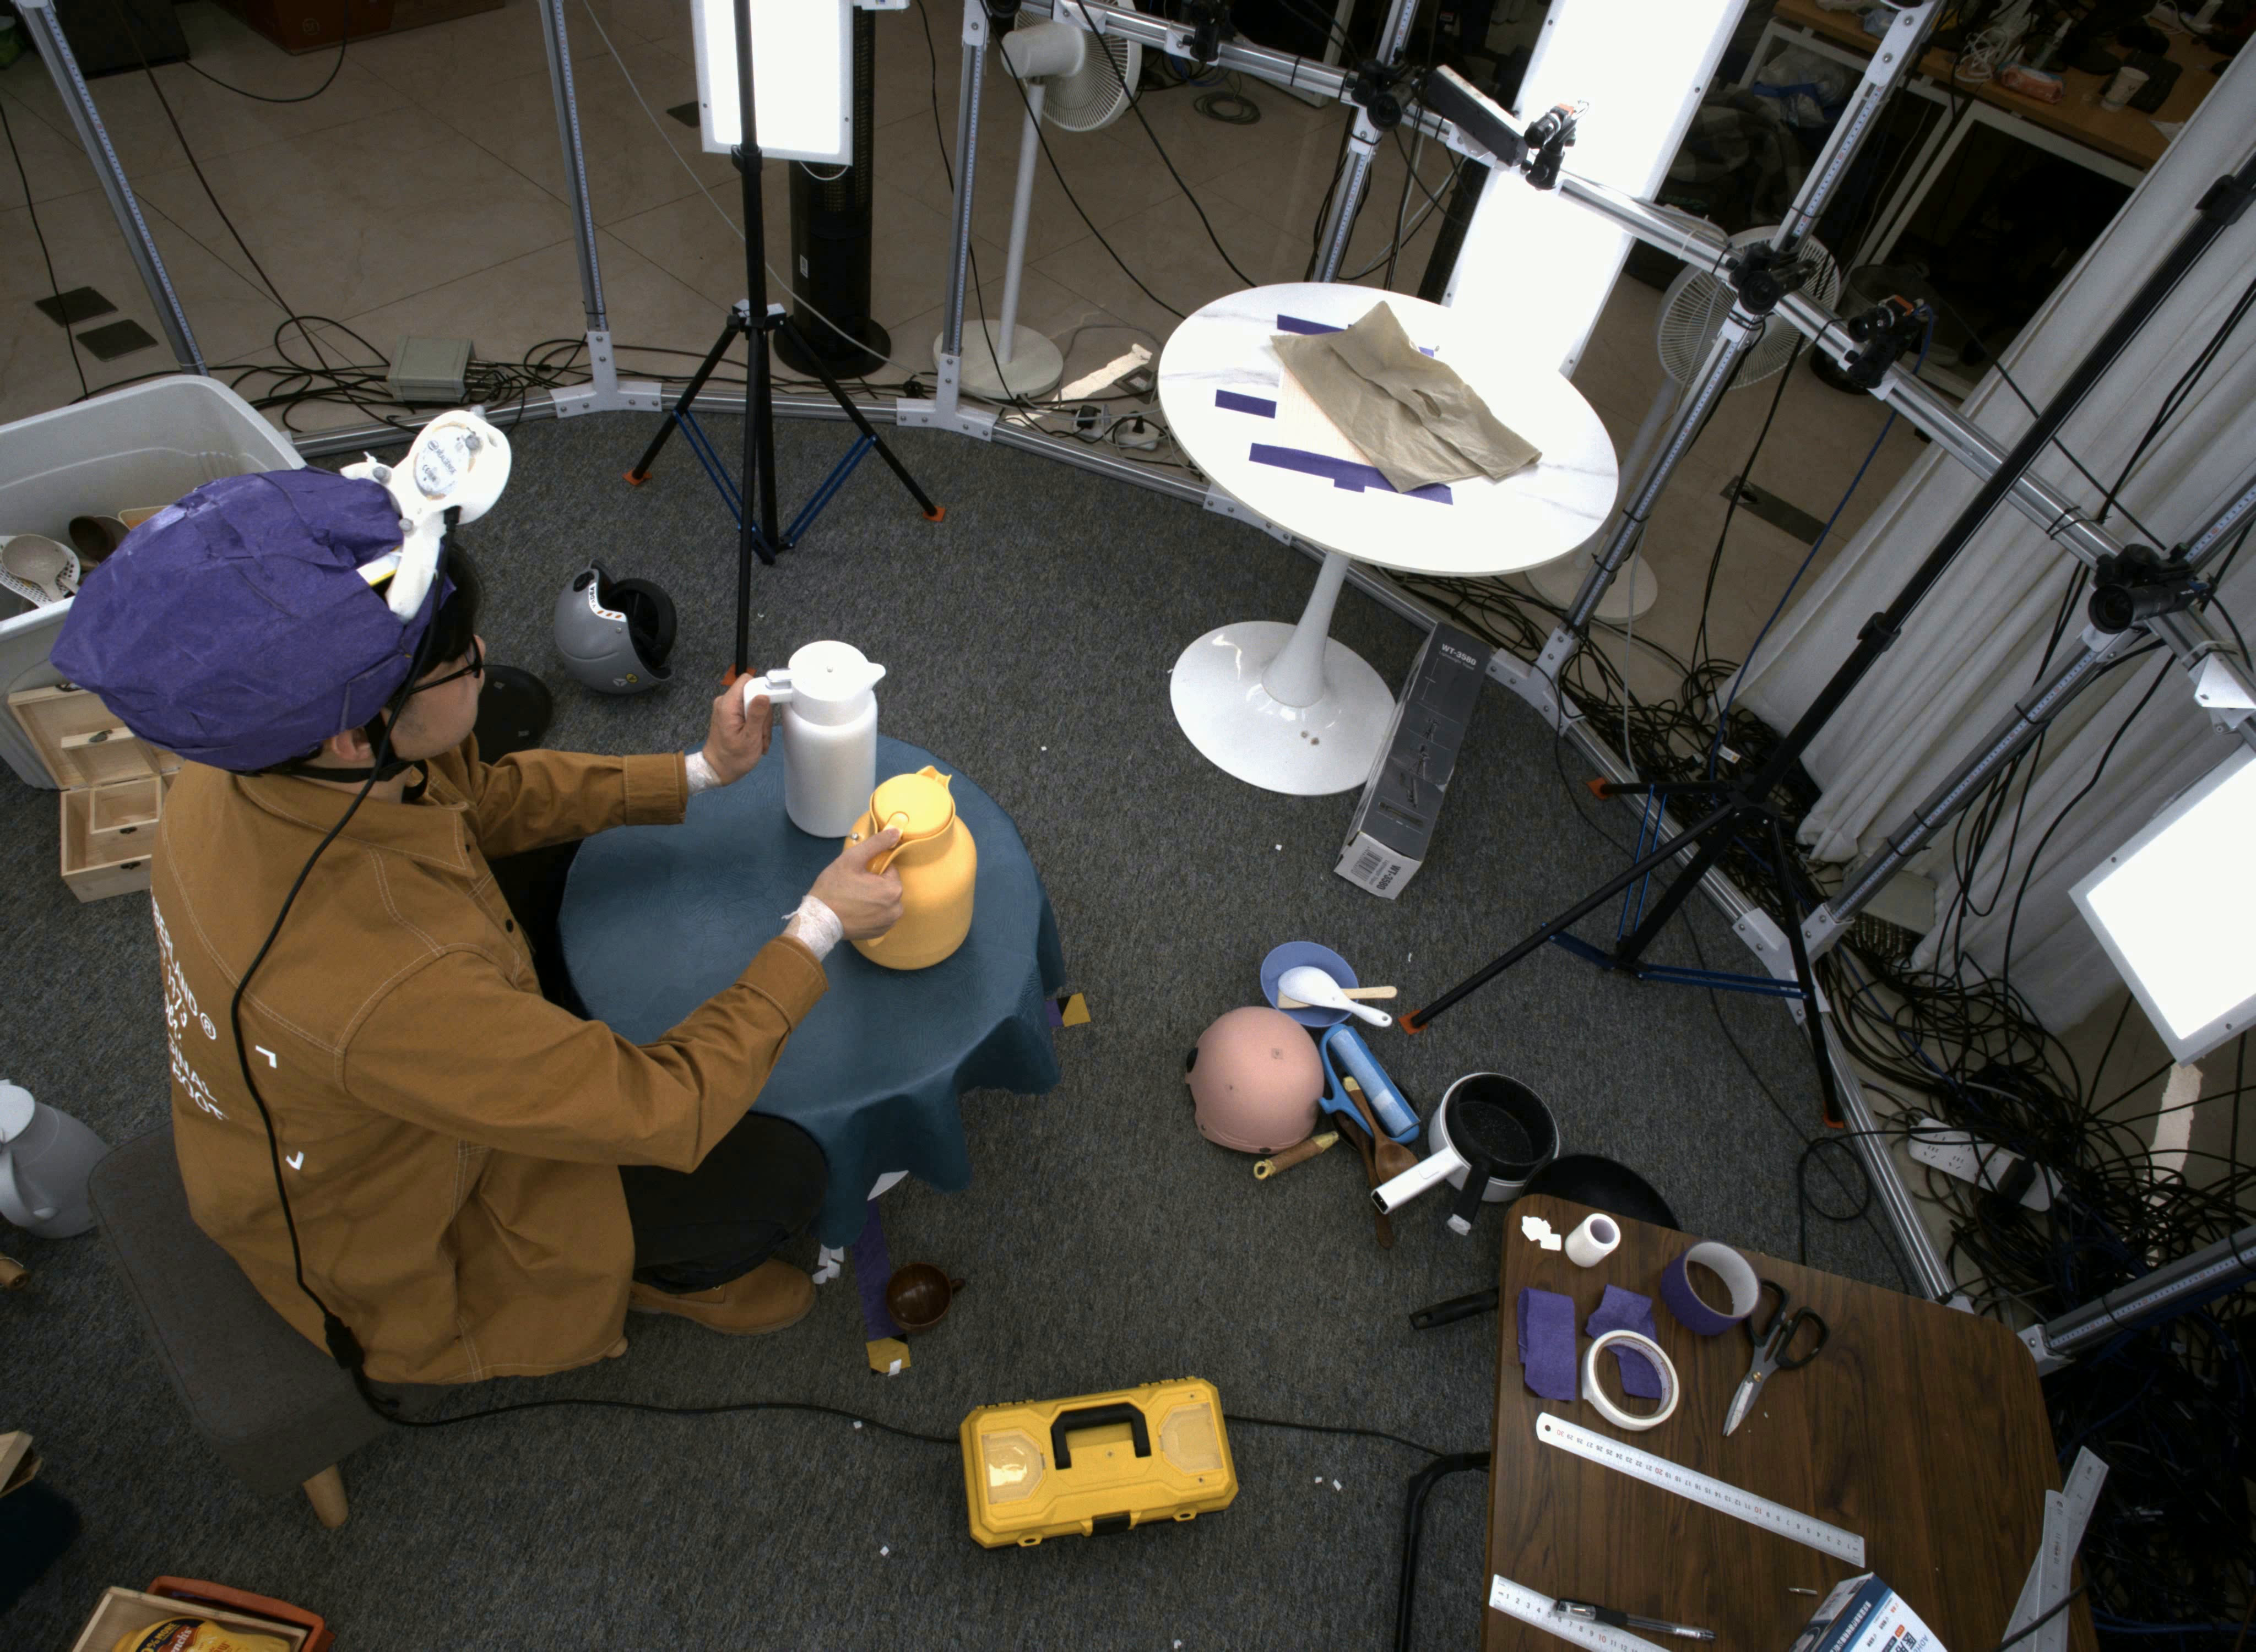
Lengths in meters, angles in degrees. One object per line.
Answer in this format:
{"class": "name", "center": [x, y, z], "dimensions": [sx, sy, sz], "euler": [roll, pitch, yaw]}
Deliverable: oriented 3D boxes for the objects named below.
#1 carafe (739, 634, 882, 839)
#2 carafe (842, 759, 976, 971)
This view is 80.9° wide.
{"class": "carafe", "center": [-0.397, -0.107, 1.635], "dimensions": [0.173, 0.274, 0.121], "euler": [-9, 57, -19]}
{"class": "carafe", "center": [-0.272, 0.057, 1.549], "dimensions": [0.160, 0.267, 0.201], "euler": [24, 50, 10]}
